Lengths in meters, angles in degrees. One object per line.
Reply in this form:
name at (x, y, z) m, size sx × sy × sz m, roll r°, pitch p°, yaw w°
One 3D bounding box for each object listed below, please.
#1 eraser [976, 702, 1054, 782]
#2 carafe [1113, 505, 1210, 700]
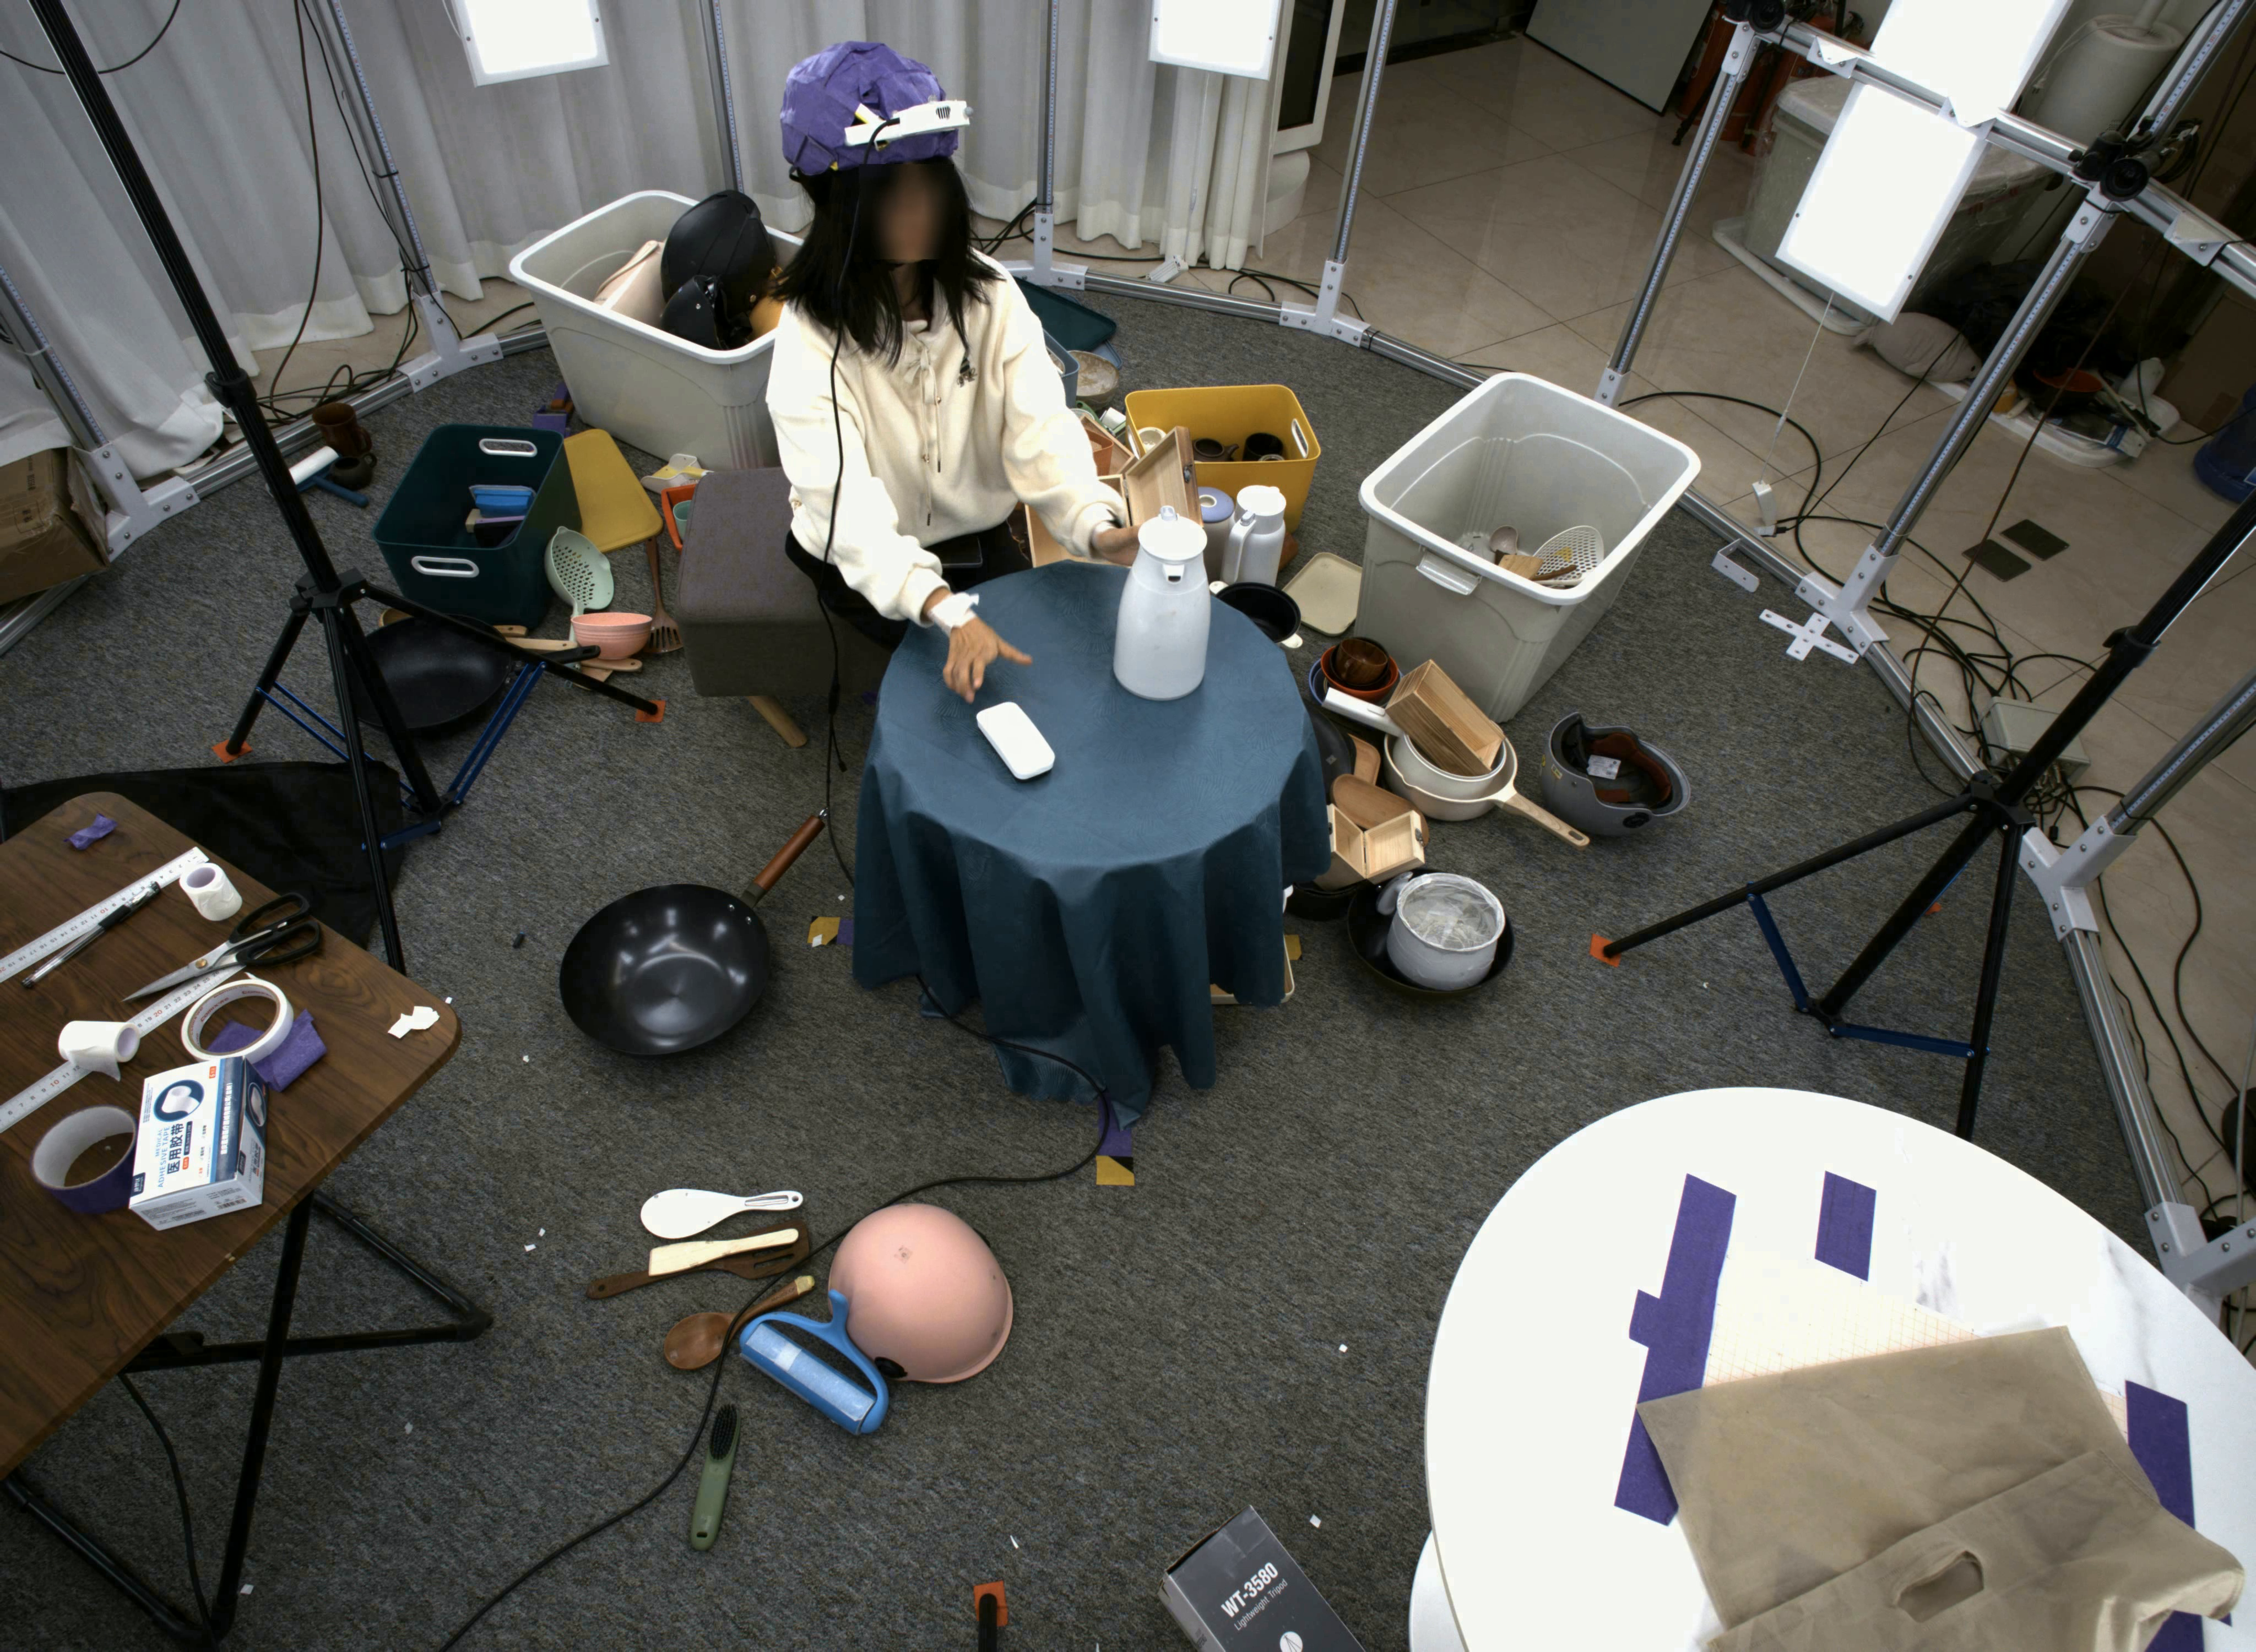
eraser at (-0.153, -0.118, 1.741) m, size 0.063 × 0.034 × 0.134 m, roll -20°, pitch 54°, yaw -24°
carafe at (0.049, -0.323, 1.793) m, size 0.132 × 0.242 × 0.172 m, roll -1°, pitch 49°, yaw -5°
